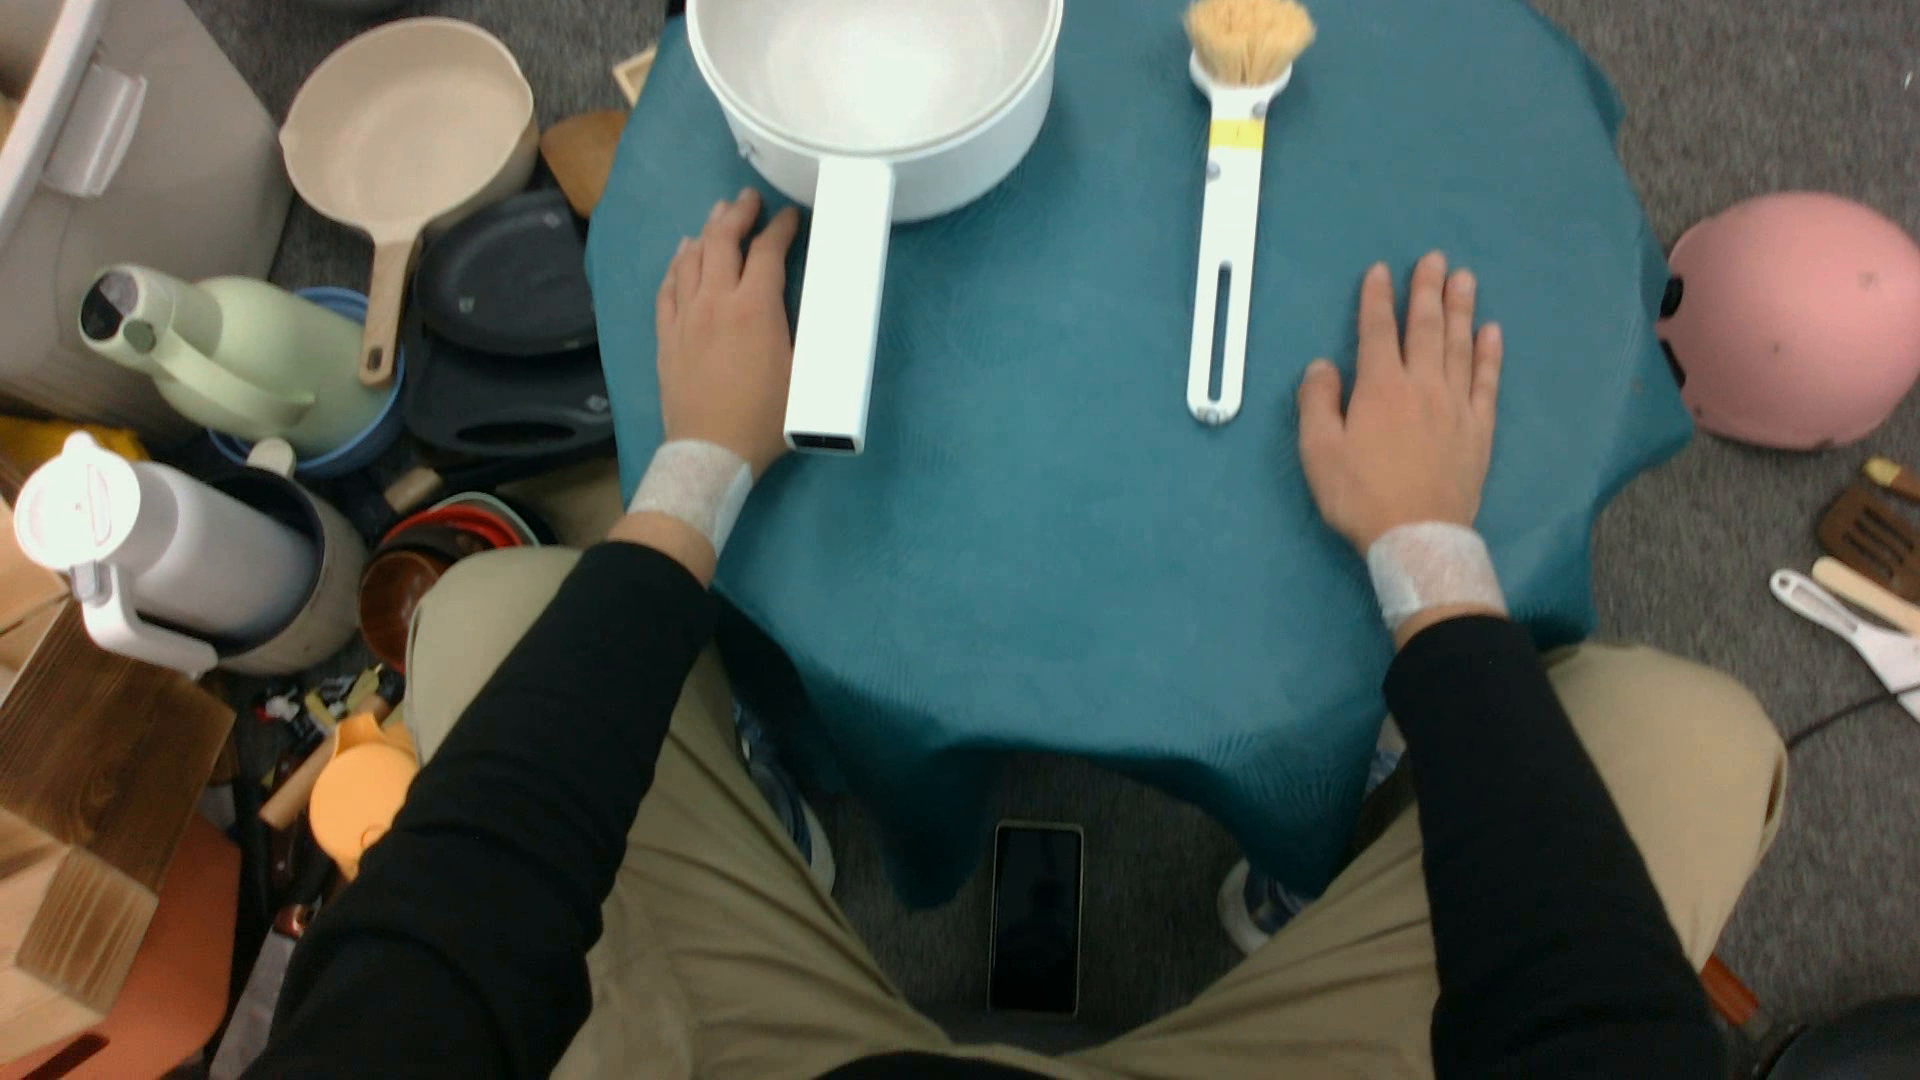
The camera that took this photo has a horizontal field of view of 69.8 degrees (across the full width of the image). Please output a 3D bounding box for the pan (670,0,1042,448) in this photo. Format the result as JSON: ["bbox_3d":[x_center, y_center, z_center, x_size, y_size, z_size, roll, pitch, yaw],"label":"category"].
[{"bbox_3d":[-0.061,-0.213,0.759,0.201,0.102,0.355,5,75,2],"label":"pan"}]

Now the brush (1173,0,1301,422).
[{"bbox_3d":[0.148,-0.200,0.771,0.068,0.056,0.267,6,76,8],"label":"brush"}]
